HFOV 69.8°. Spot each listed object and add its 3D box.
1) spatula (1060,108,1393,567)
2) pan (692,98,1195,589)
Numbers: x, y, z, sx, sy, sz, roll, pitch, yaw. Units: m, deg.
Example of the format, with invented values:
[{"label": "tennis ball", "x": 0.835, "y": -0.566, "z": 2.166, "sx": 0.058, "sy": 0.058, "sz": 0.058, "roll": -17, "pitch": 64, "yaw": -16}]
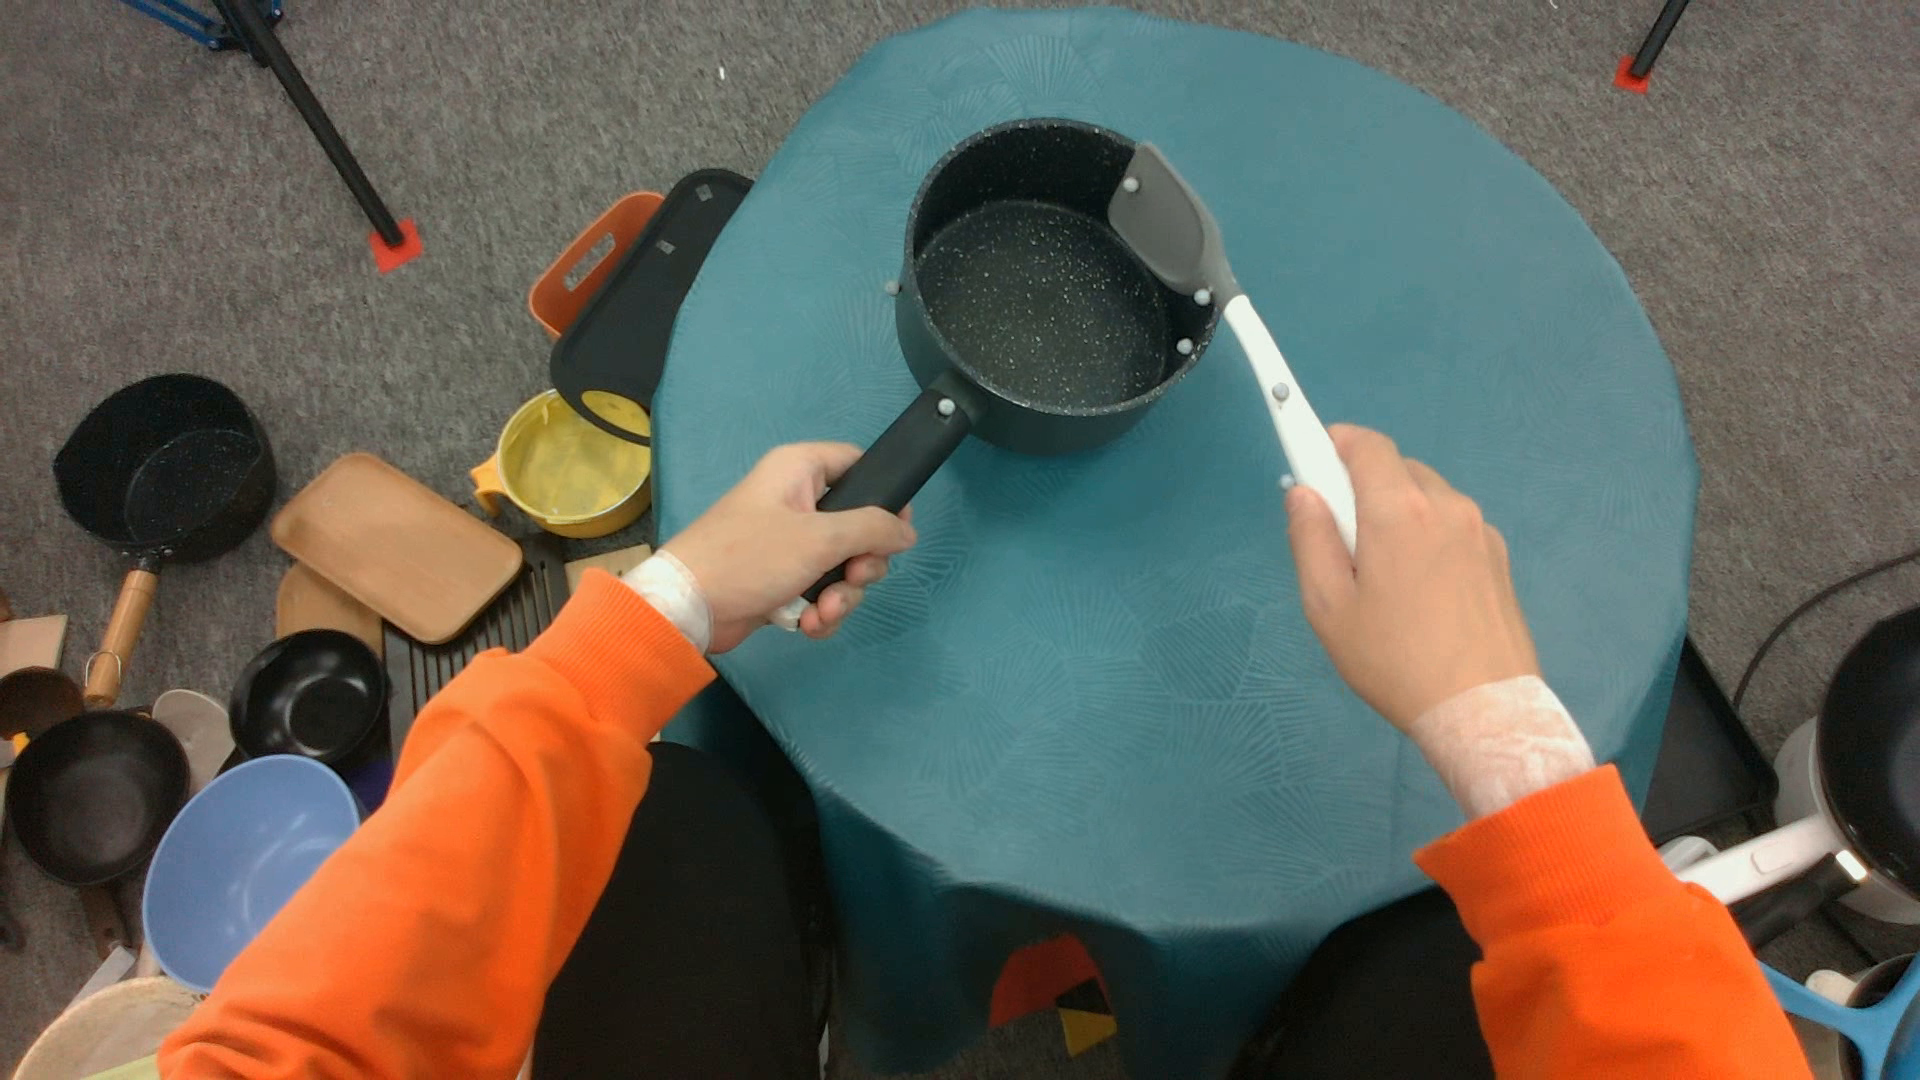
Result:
[{"label": "spatula", "x": 0.121, "y": -0.106, "z": 0.671, "sx": 0.032, "sy": 0.058, "sz": 0.288, "roll": -5, "pitch": 51, "yaw": -27}, {"label": "pan", "x": -0.015, "y": -0.089, "z": 0.715, "sx": 0.172, "sy": 0.086, "sz": 0.330, "roll": 40, "pitch": 68, "yaw": 3}]
